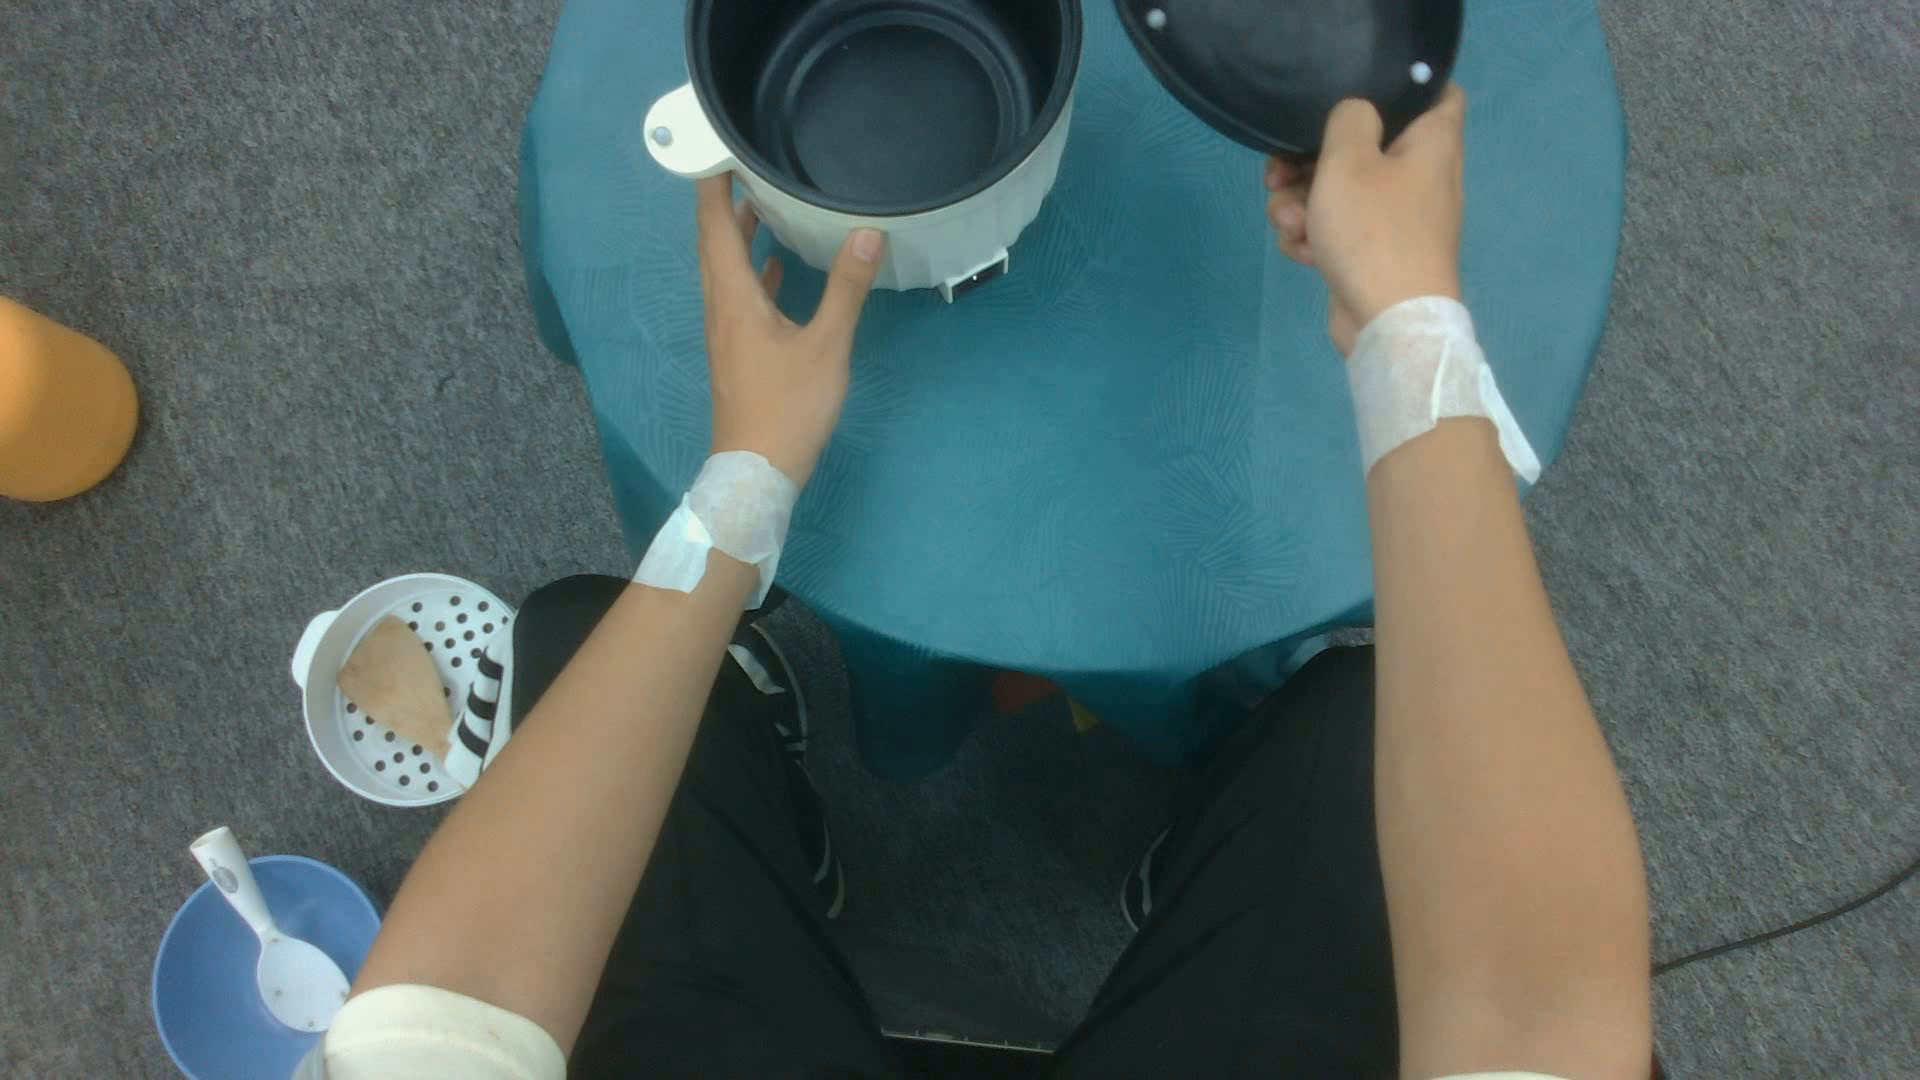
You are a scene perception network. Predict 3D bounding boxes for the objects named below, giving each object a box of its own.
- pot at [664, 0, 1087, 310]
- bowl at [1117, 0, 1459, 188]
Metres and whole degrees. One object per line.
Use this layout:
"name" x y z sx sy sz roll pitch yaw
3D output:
"pot" -0.034 -0.222 0.708 0.240 0.142 0.190 -30 84 -5
"bowl" 0.144 -0.231 0.620 0.137 0.066 0.170 -39 86 -1
